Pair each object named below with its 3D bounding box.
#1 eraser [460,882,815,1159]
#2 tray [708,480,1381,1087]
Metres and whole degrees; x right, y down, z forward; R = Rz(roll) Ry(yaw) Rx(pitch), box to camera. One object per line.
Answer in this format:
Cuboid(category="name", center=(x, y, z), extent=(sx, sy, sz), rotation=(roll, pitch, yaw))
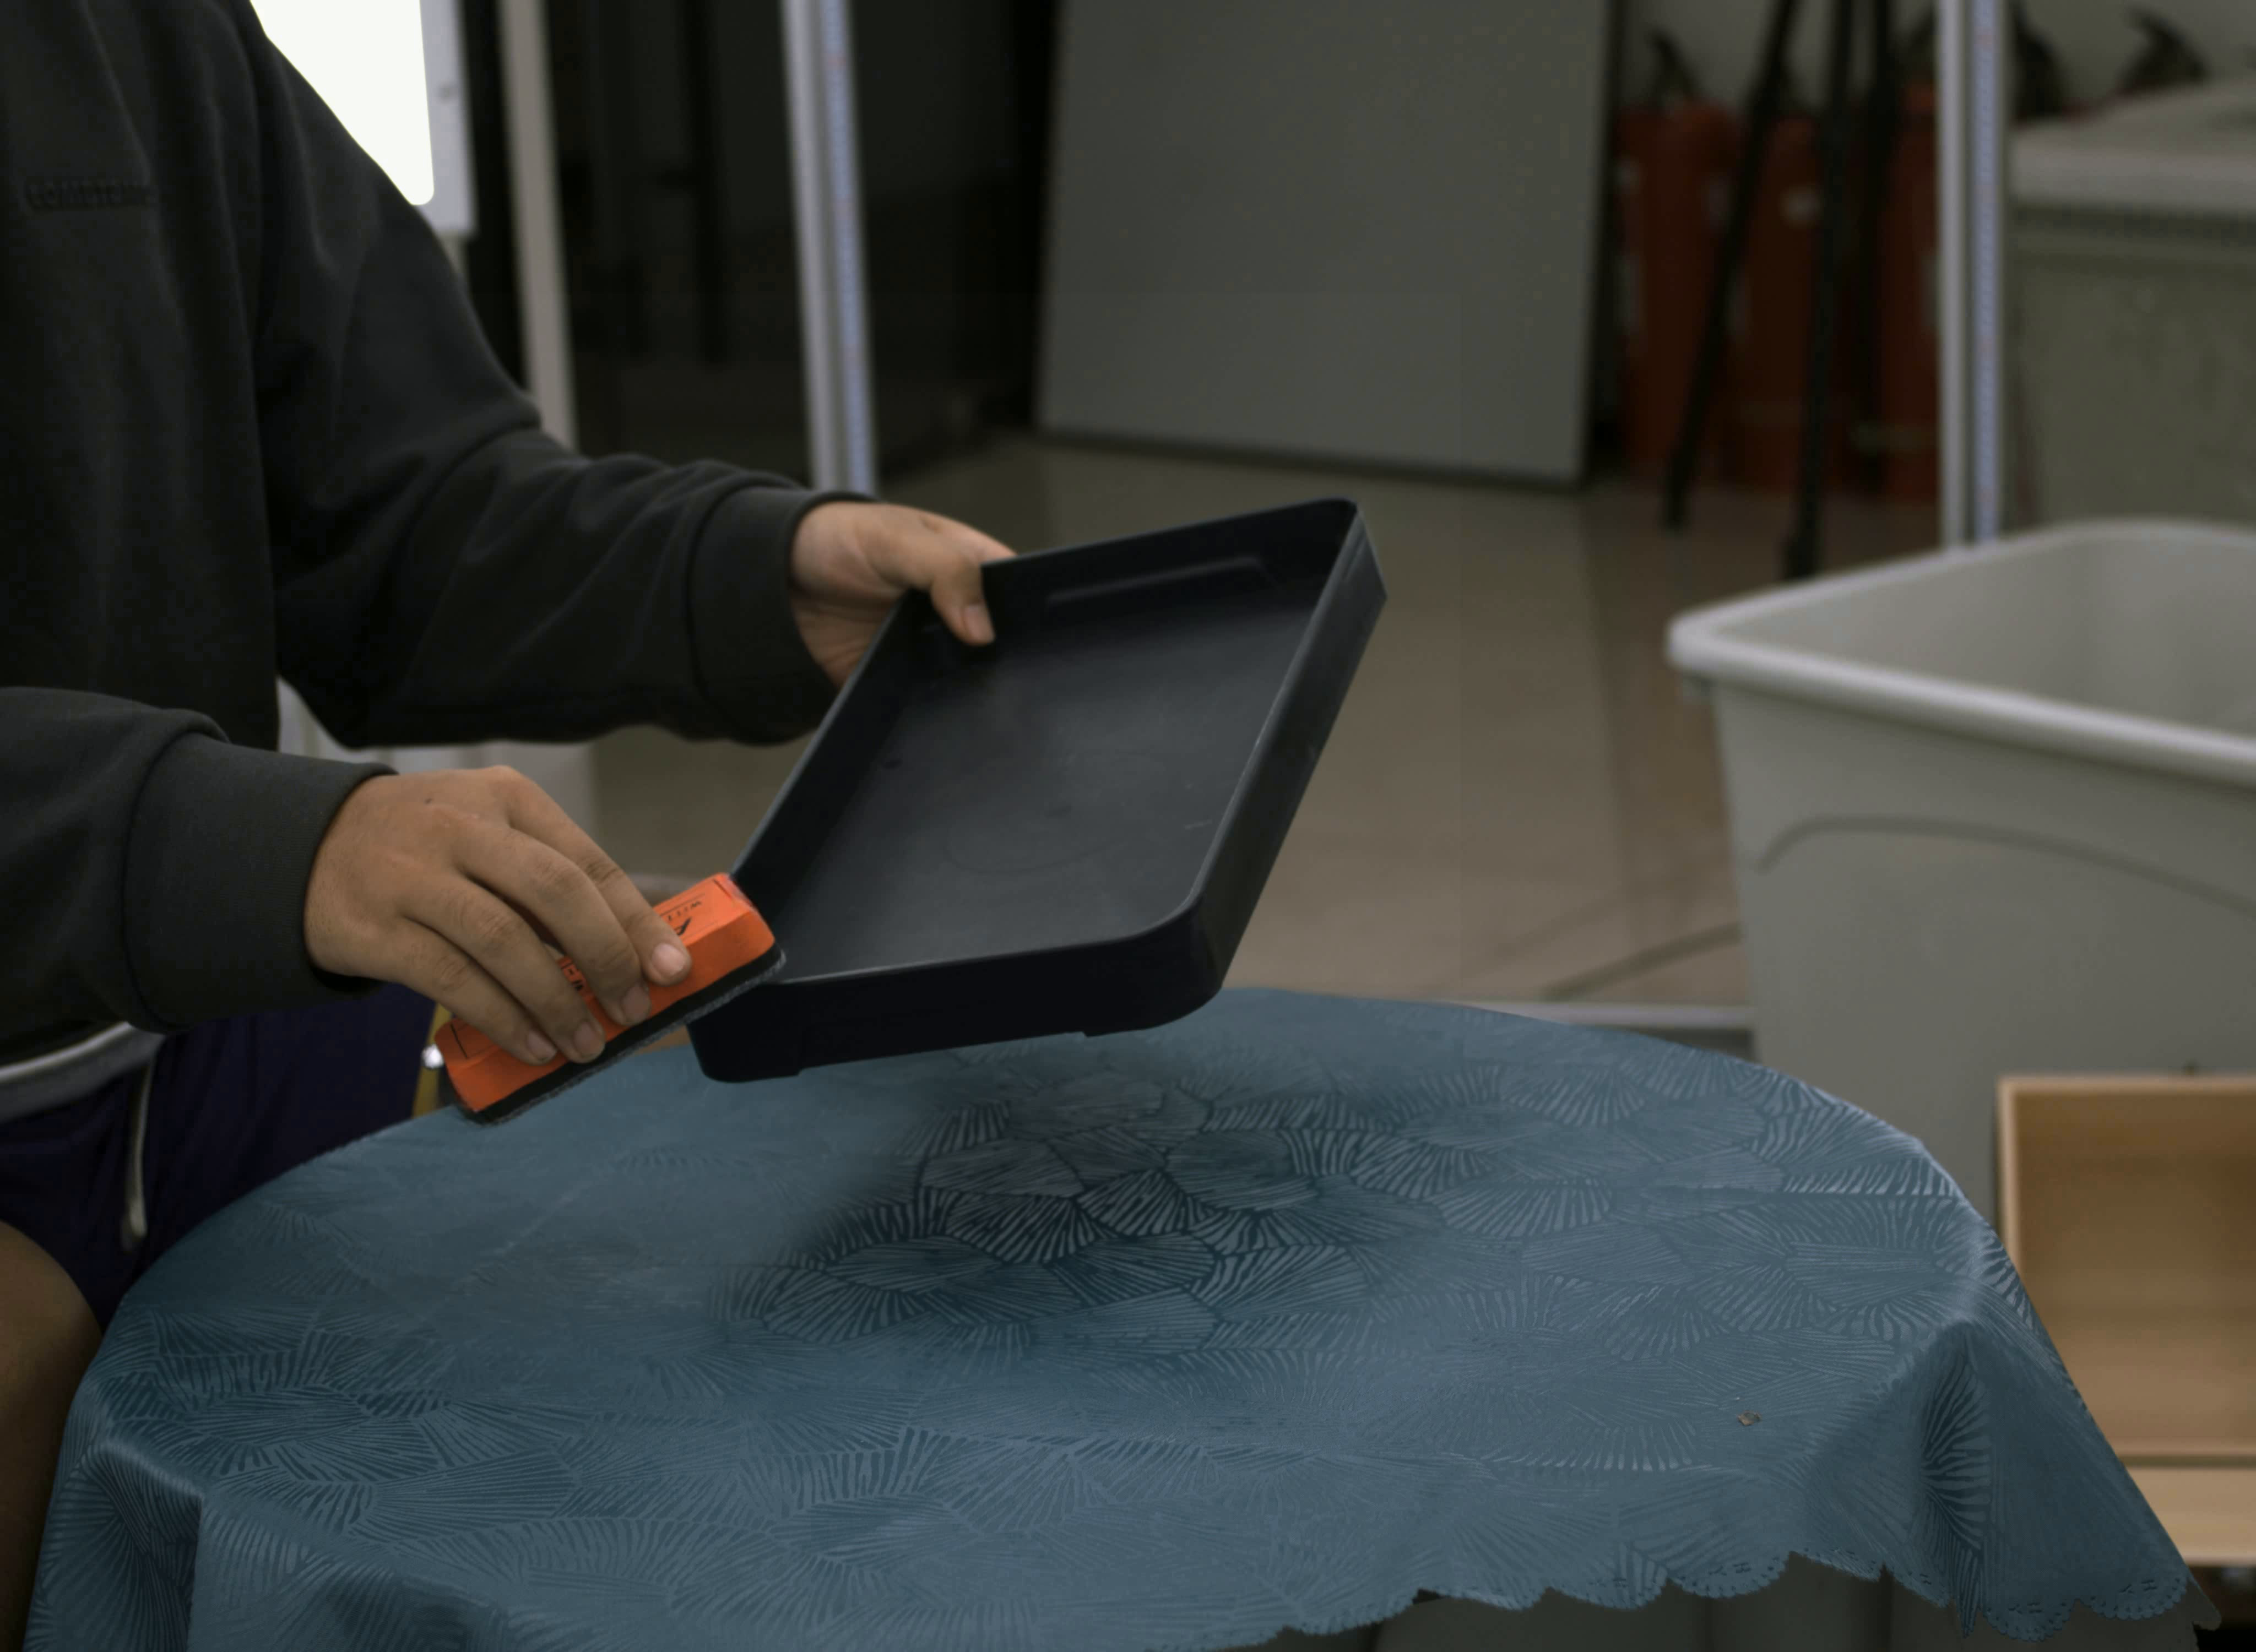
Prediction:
Cuboid(category="eraser", center=(-0.150, 0.059, 1.652), extent=(0.107, 0.023, 0.059), rotation=(-40, 22, -22))
Cuboid(category="tray", center=(-0.025, -0.019, 1.800), extent=(0.184, 0.037, 0.317), rotation=(-12, 25, 20))
